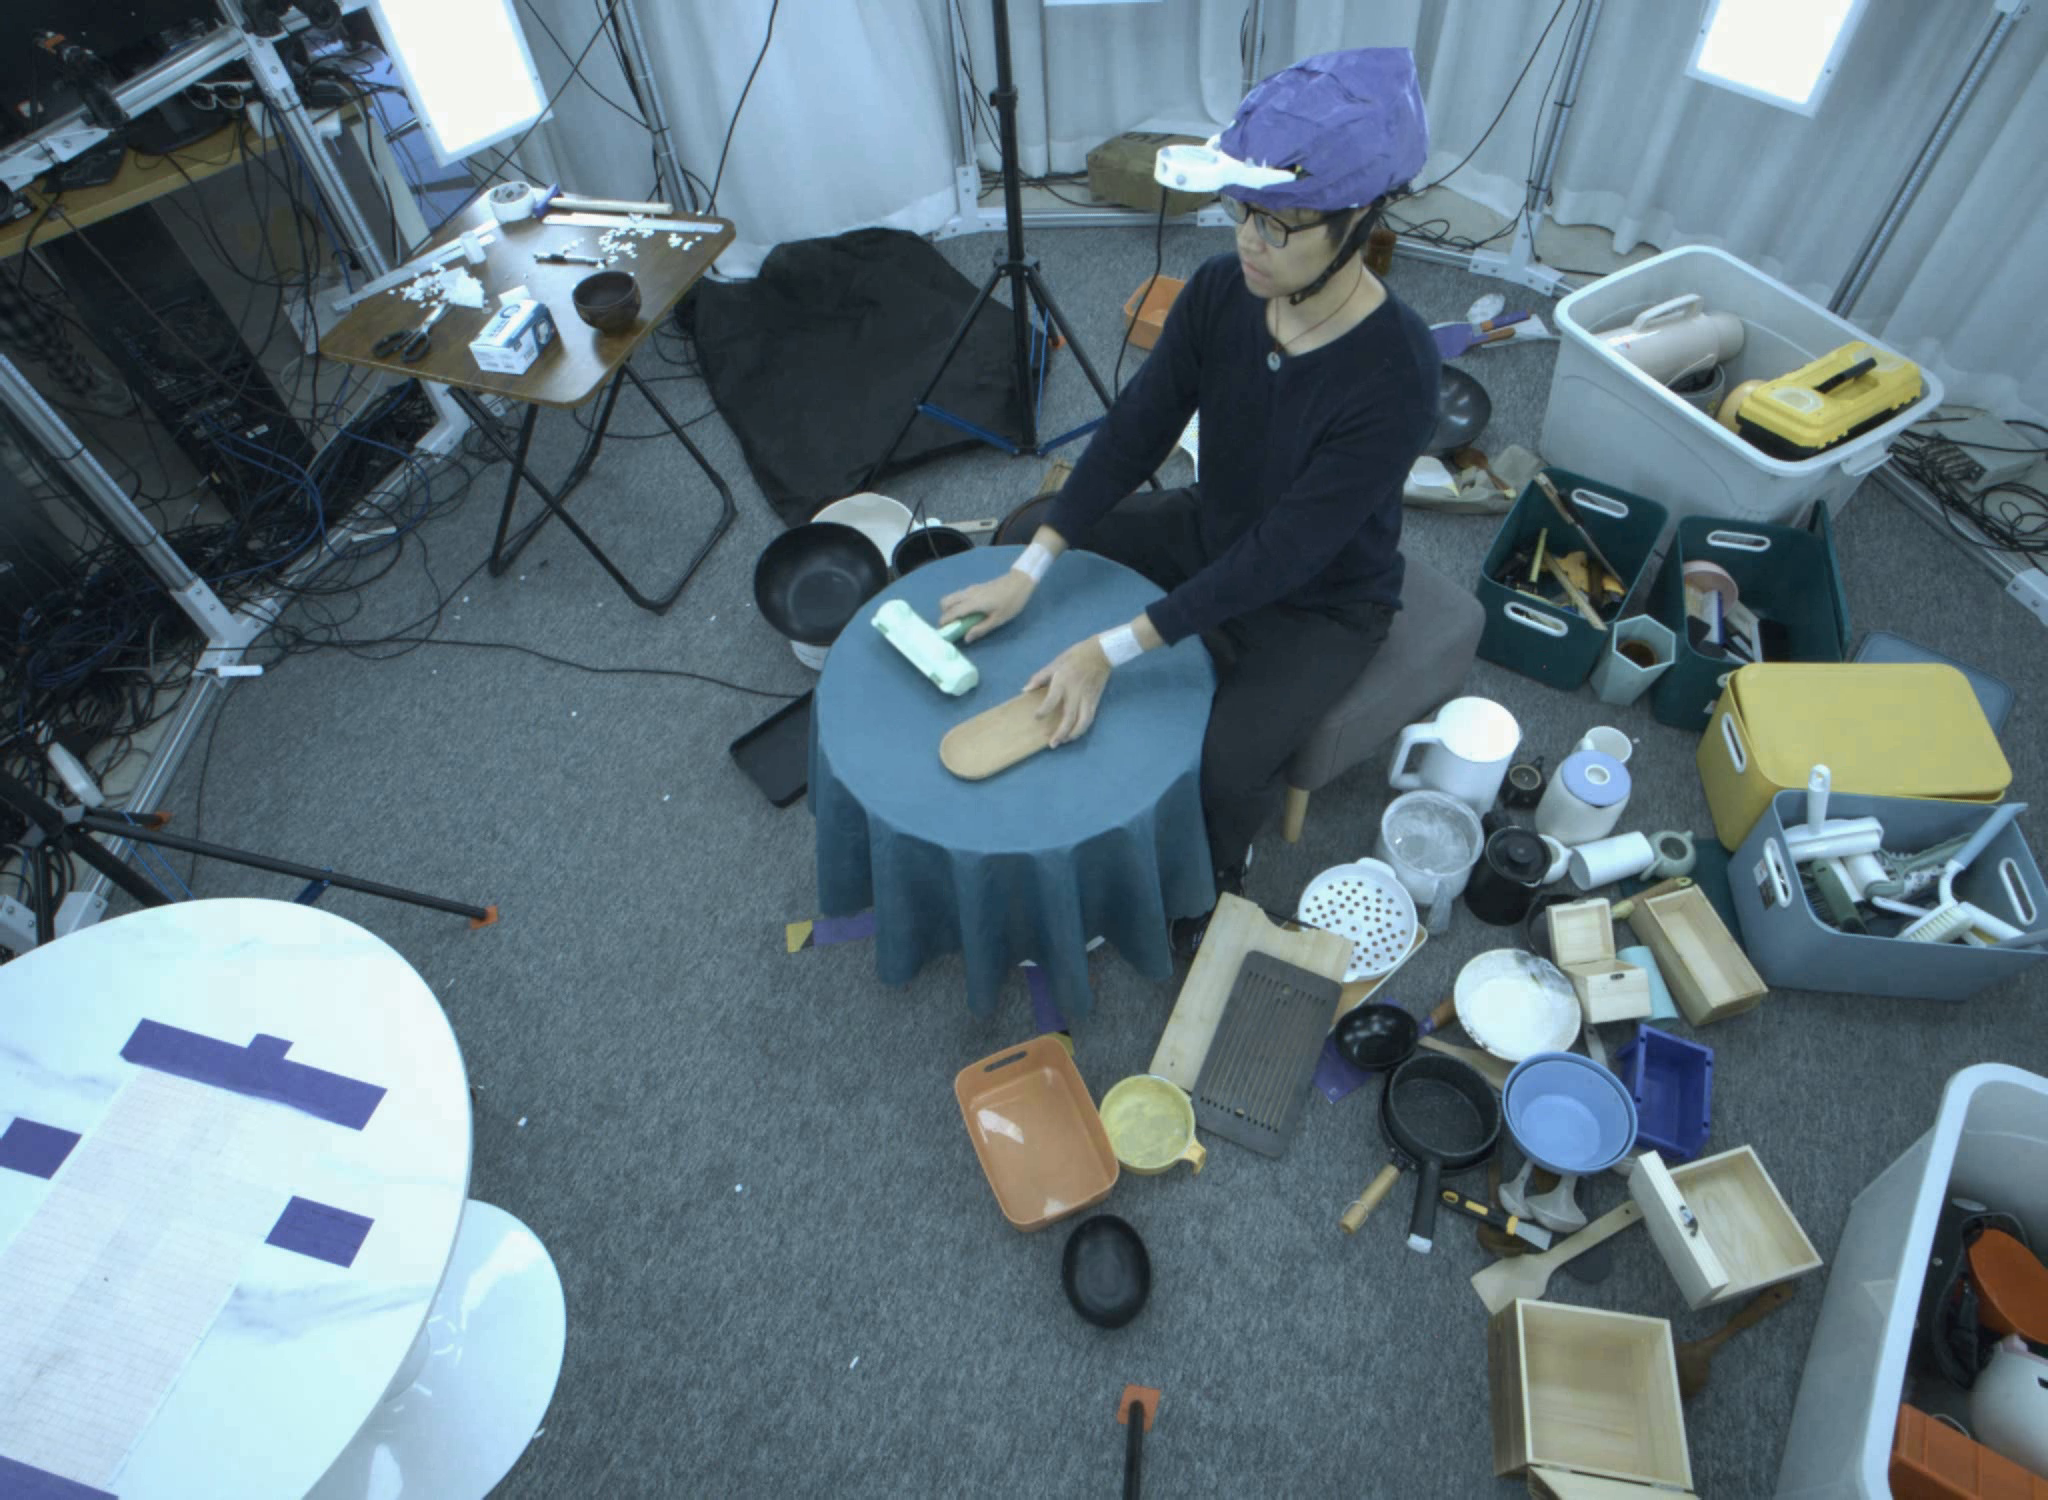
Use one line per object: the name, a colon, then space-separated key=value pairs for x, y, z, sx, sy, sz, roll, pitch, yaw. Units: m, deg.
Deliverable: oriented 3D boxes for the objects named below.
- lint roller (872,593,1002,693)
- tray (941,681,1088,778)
lint roller: x=-0.109 y=-0.198 z=1.874 sx=0.184 sy=0.083 sz=0.195 roll=-41 pitch=63 yaw=-14
tray: x=-0.013 y=-0.030 z=1.799 sx=0.233 sy=0.020 sz=0.100 roll=-26 pitch=58 yaw=-17
